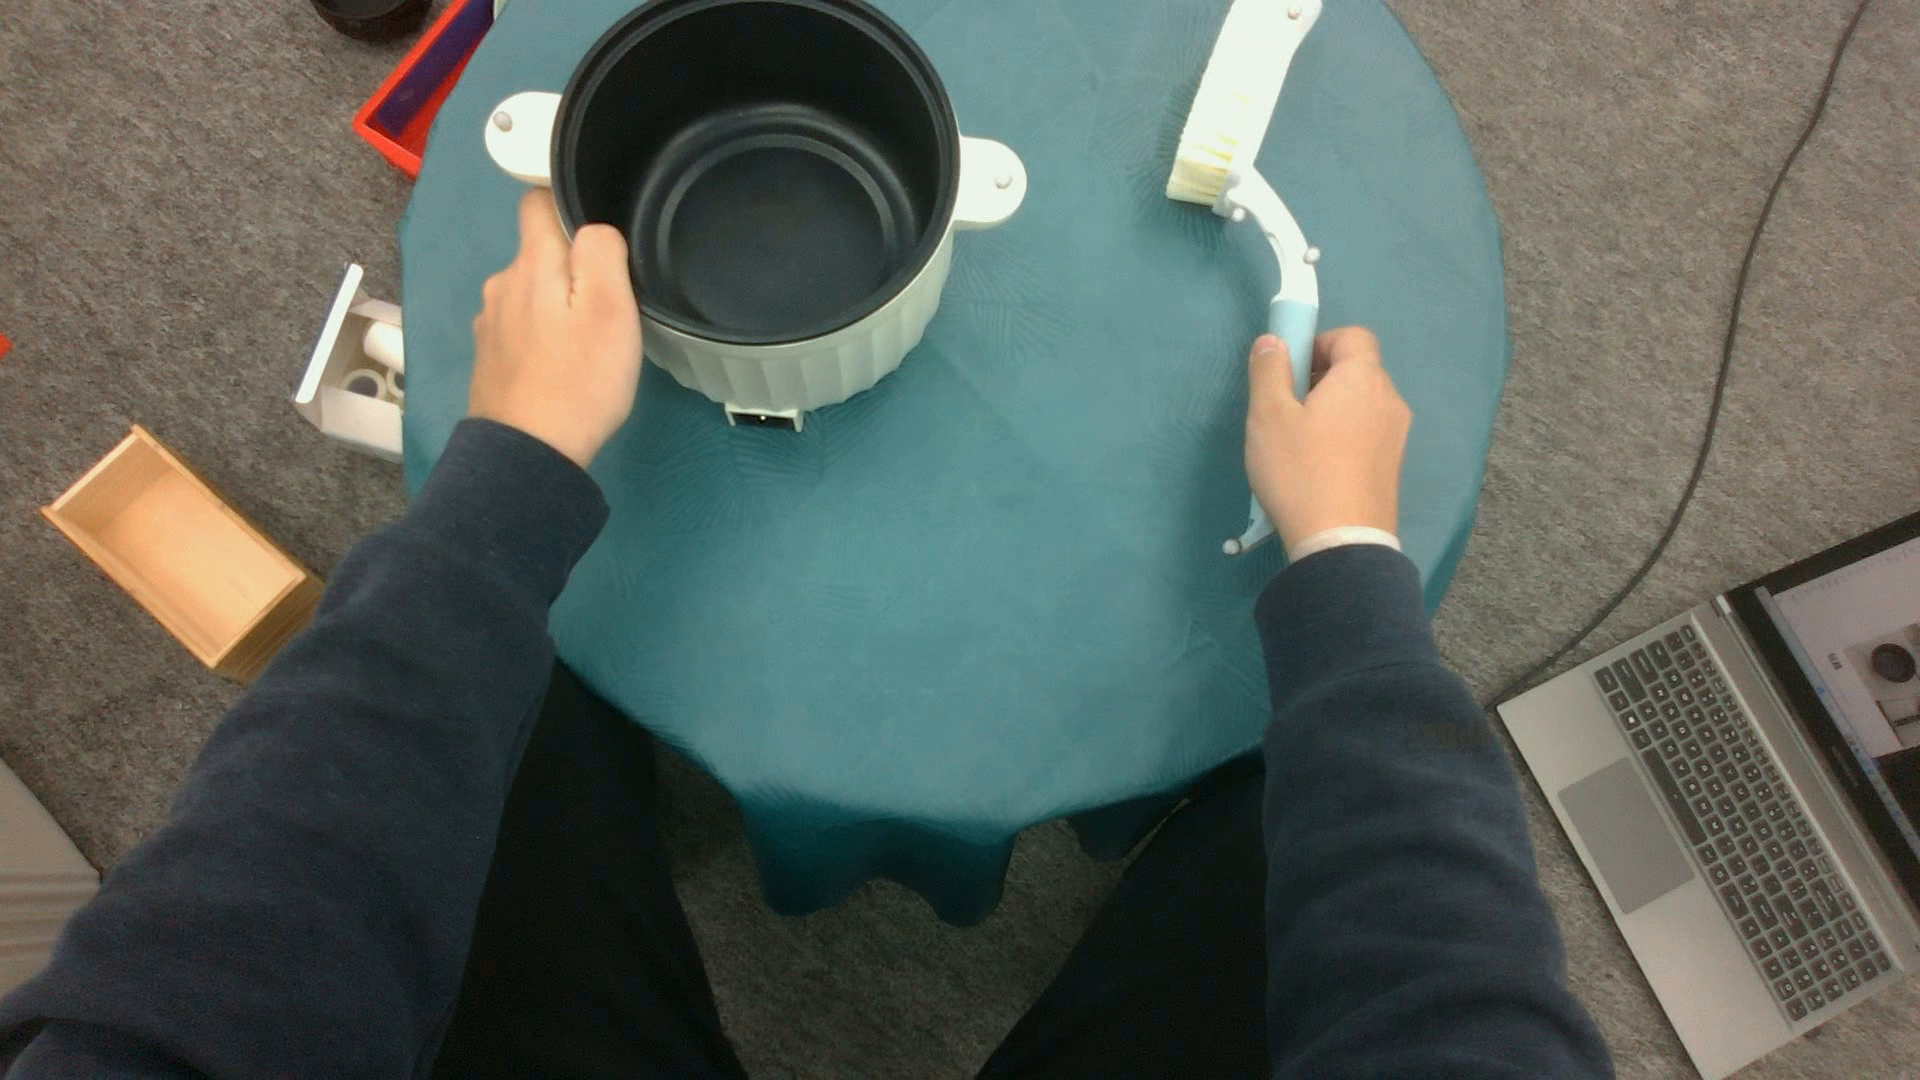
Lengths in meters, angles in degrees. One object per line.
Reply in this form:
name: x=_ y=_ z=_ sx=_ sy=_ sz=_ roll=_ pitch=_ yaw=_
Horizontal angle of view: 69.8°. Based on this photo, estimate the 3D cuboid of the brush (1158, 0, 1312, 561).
brush: x=0.135 y=-0.149 z=0.729 sx=0.084 sy=0.083 sz=0.326 roll=-6 pitch=70 yaw=35

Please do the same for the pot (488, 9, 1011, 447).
pot: x=-0.098 y=-0.153 z=0.694 sx=0.240 sy=0.142 sz=0.191 roll=2 pitch=79 yaw=-2
